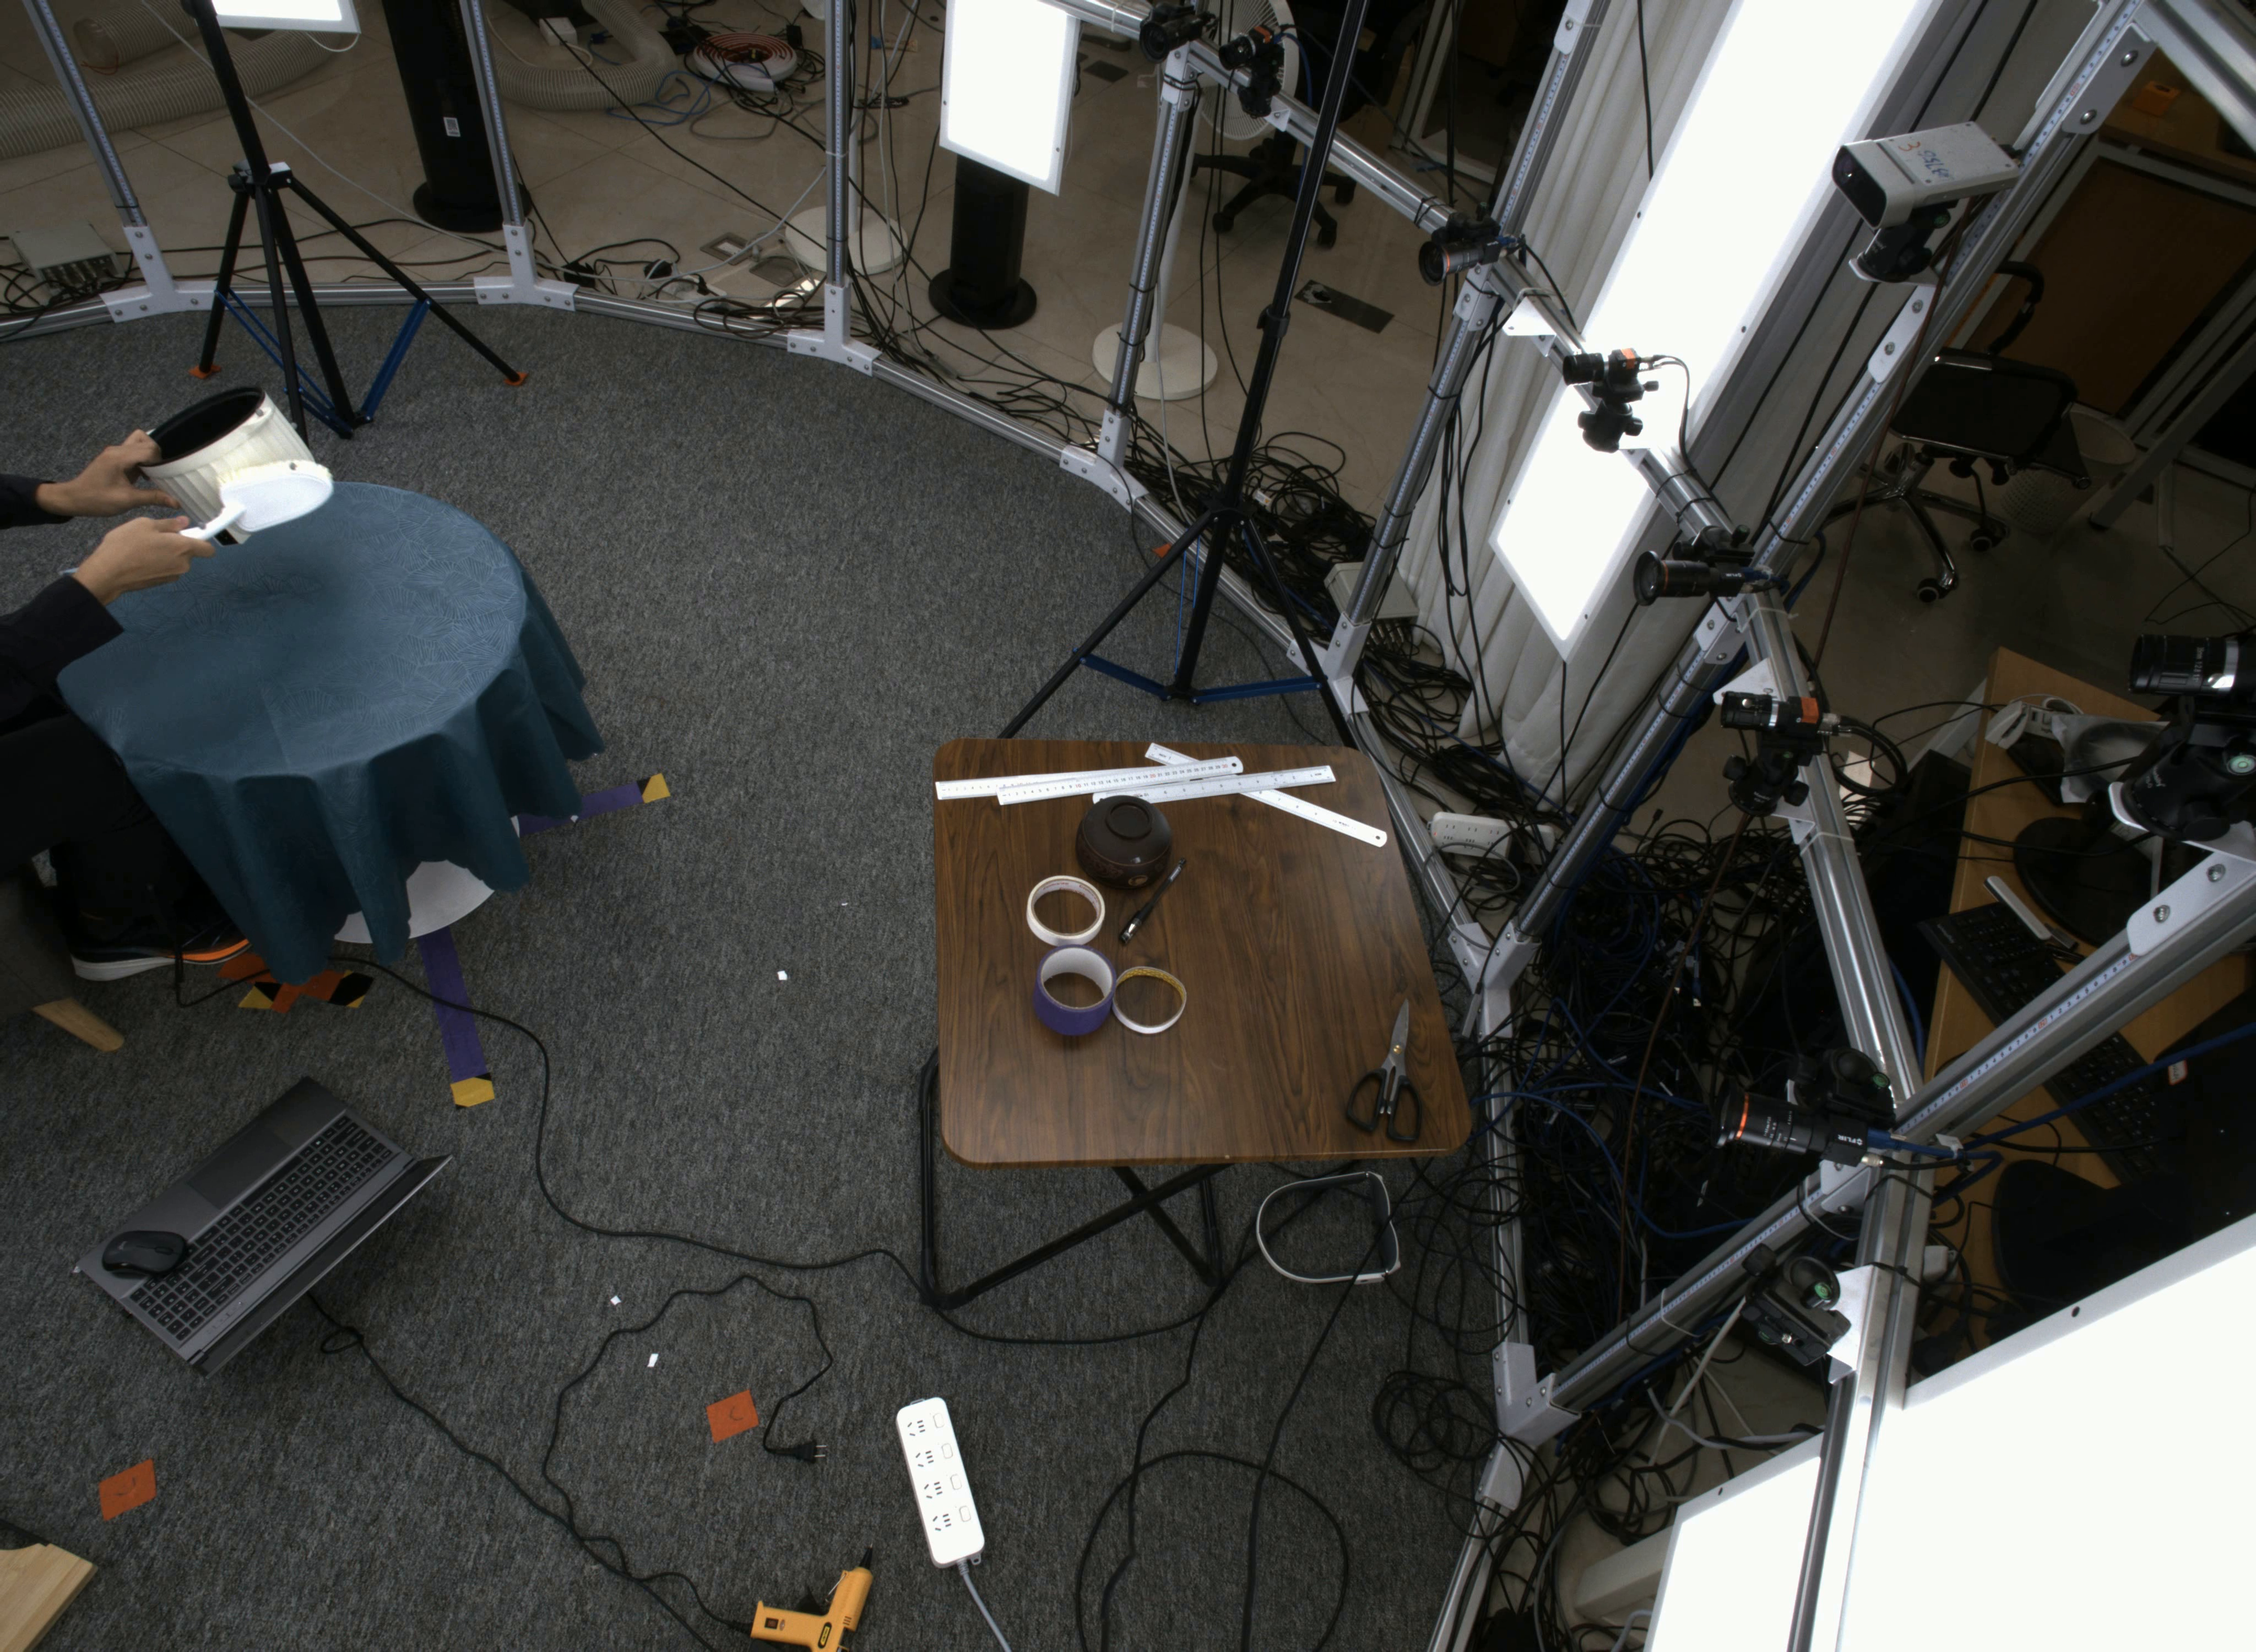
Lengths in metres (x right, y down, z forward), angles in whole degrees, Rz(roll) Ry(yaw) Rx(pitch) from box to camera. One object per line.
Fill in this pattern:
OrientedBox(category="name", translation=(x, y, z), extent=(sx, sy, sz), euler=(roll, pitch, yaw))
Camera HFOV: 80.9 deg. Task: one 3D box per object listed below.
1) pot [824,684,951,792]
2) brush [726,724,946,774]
OrientedBox(category="pot", translation=(-0.377, -0.141, 2.088), extent=(0.233, 0.145, 0.192), euler=(-6, 12, 43))
OrientedBox(category="brush", translation=(-0.435, -0.116, 1.947), extent=(0.324, 0.086, 0.082), euler=(-4, 64, -9))
